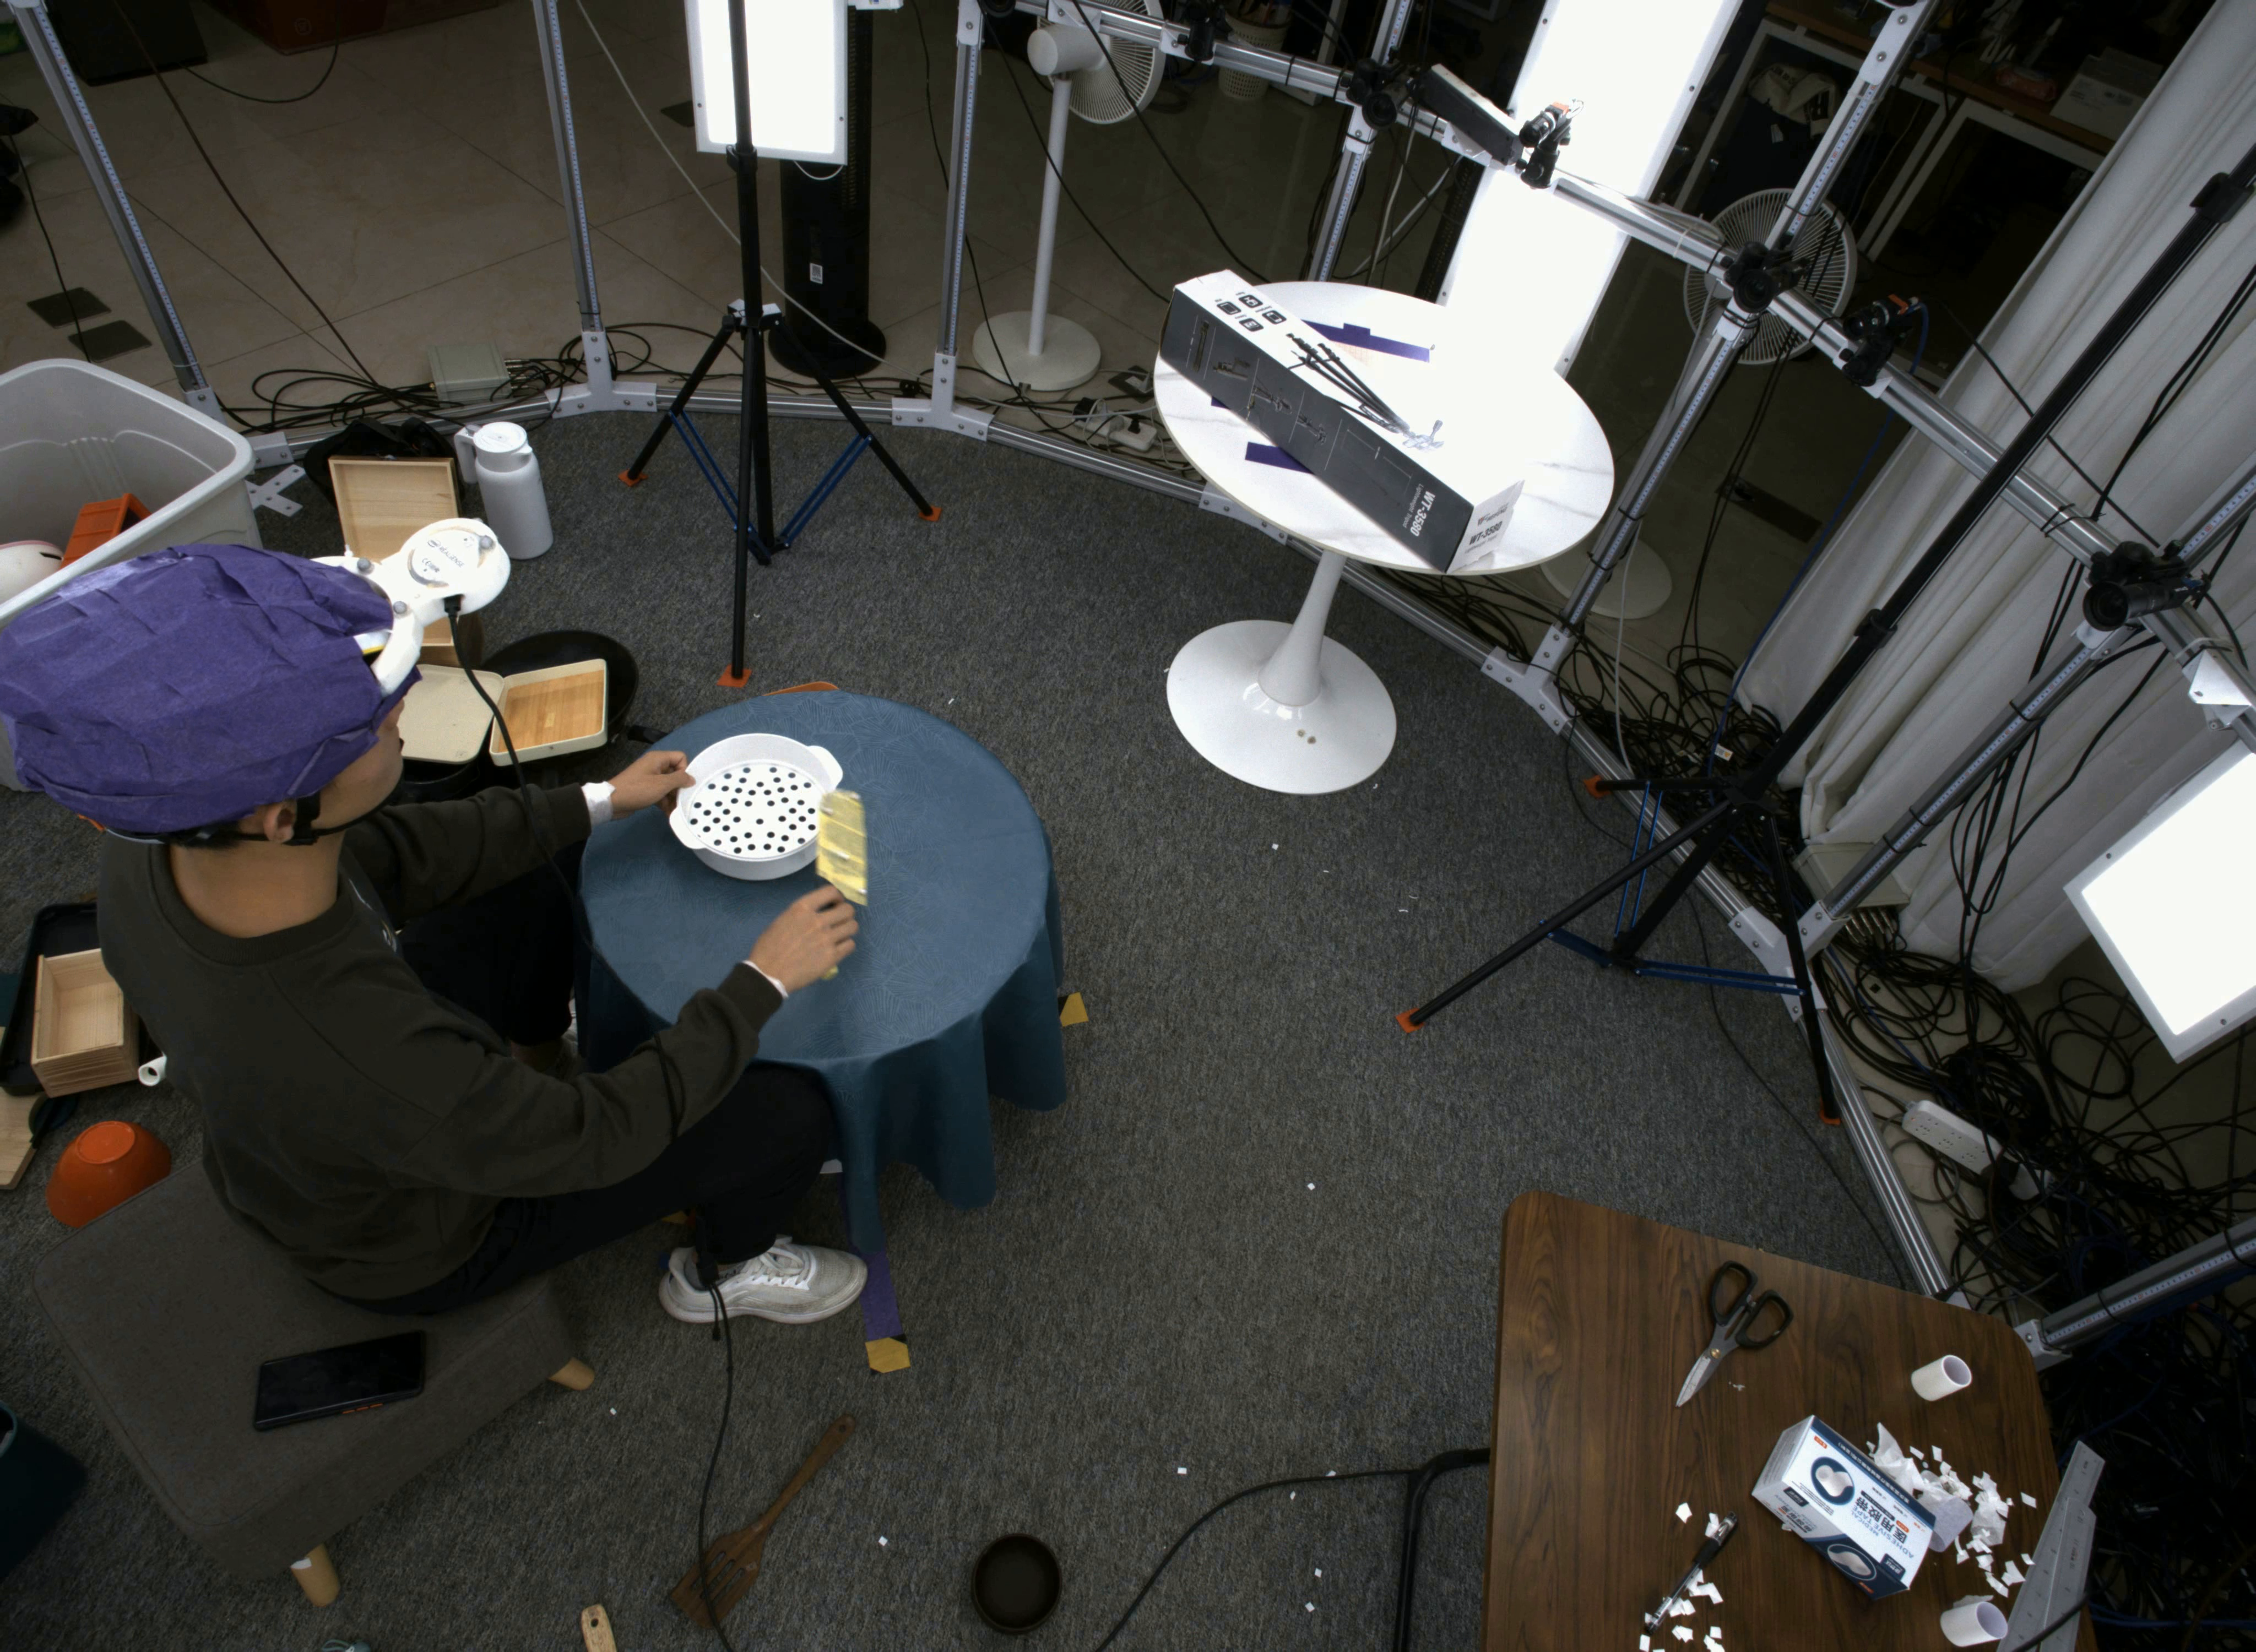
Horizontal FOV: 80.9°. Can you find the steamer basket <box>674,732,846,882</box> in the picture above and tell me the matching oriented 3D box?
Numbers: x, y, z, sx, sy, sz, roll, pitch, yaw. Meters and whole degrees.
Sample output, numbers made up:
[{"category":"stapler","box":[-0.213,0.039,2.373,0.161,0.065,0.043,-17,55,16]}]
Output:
[{"category":"steamer basket","box":[-0.476,-0.025,1.691,0.231,0.070,0.197,-30,68,-27]}]

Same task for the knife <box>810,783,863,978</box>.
[{"category":"knife","box":[-0.353,0.059,1.564,0.083,0.027,0.283,31,40,-39]}]
